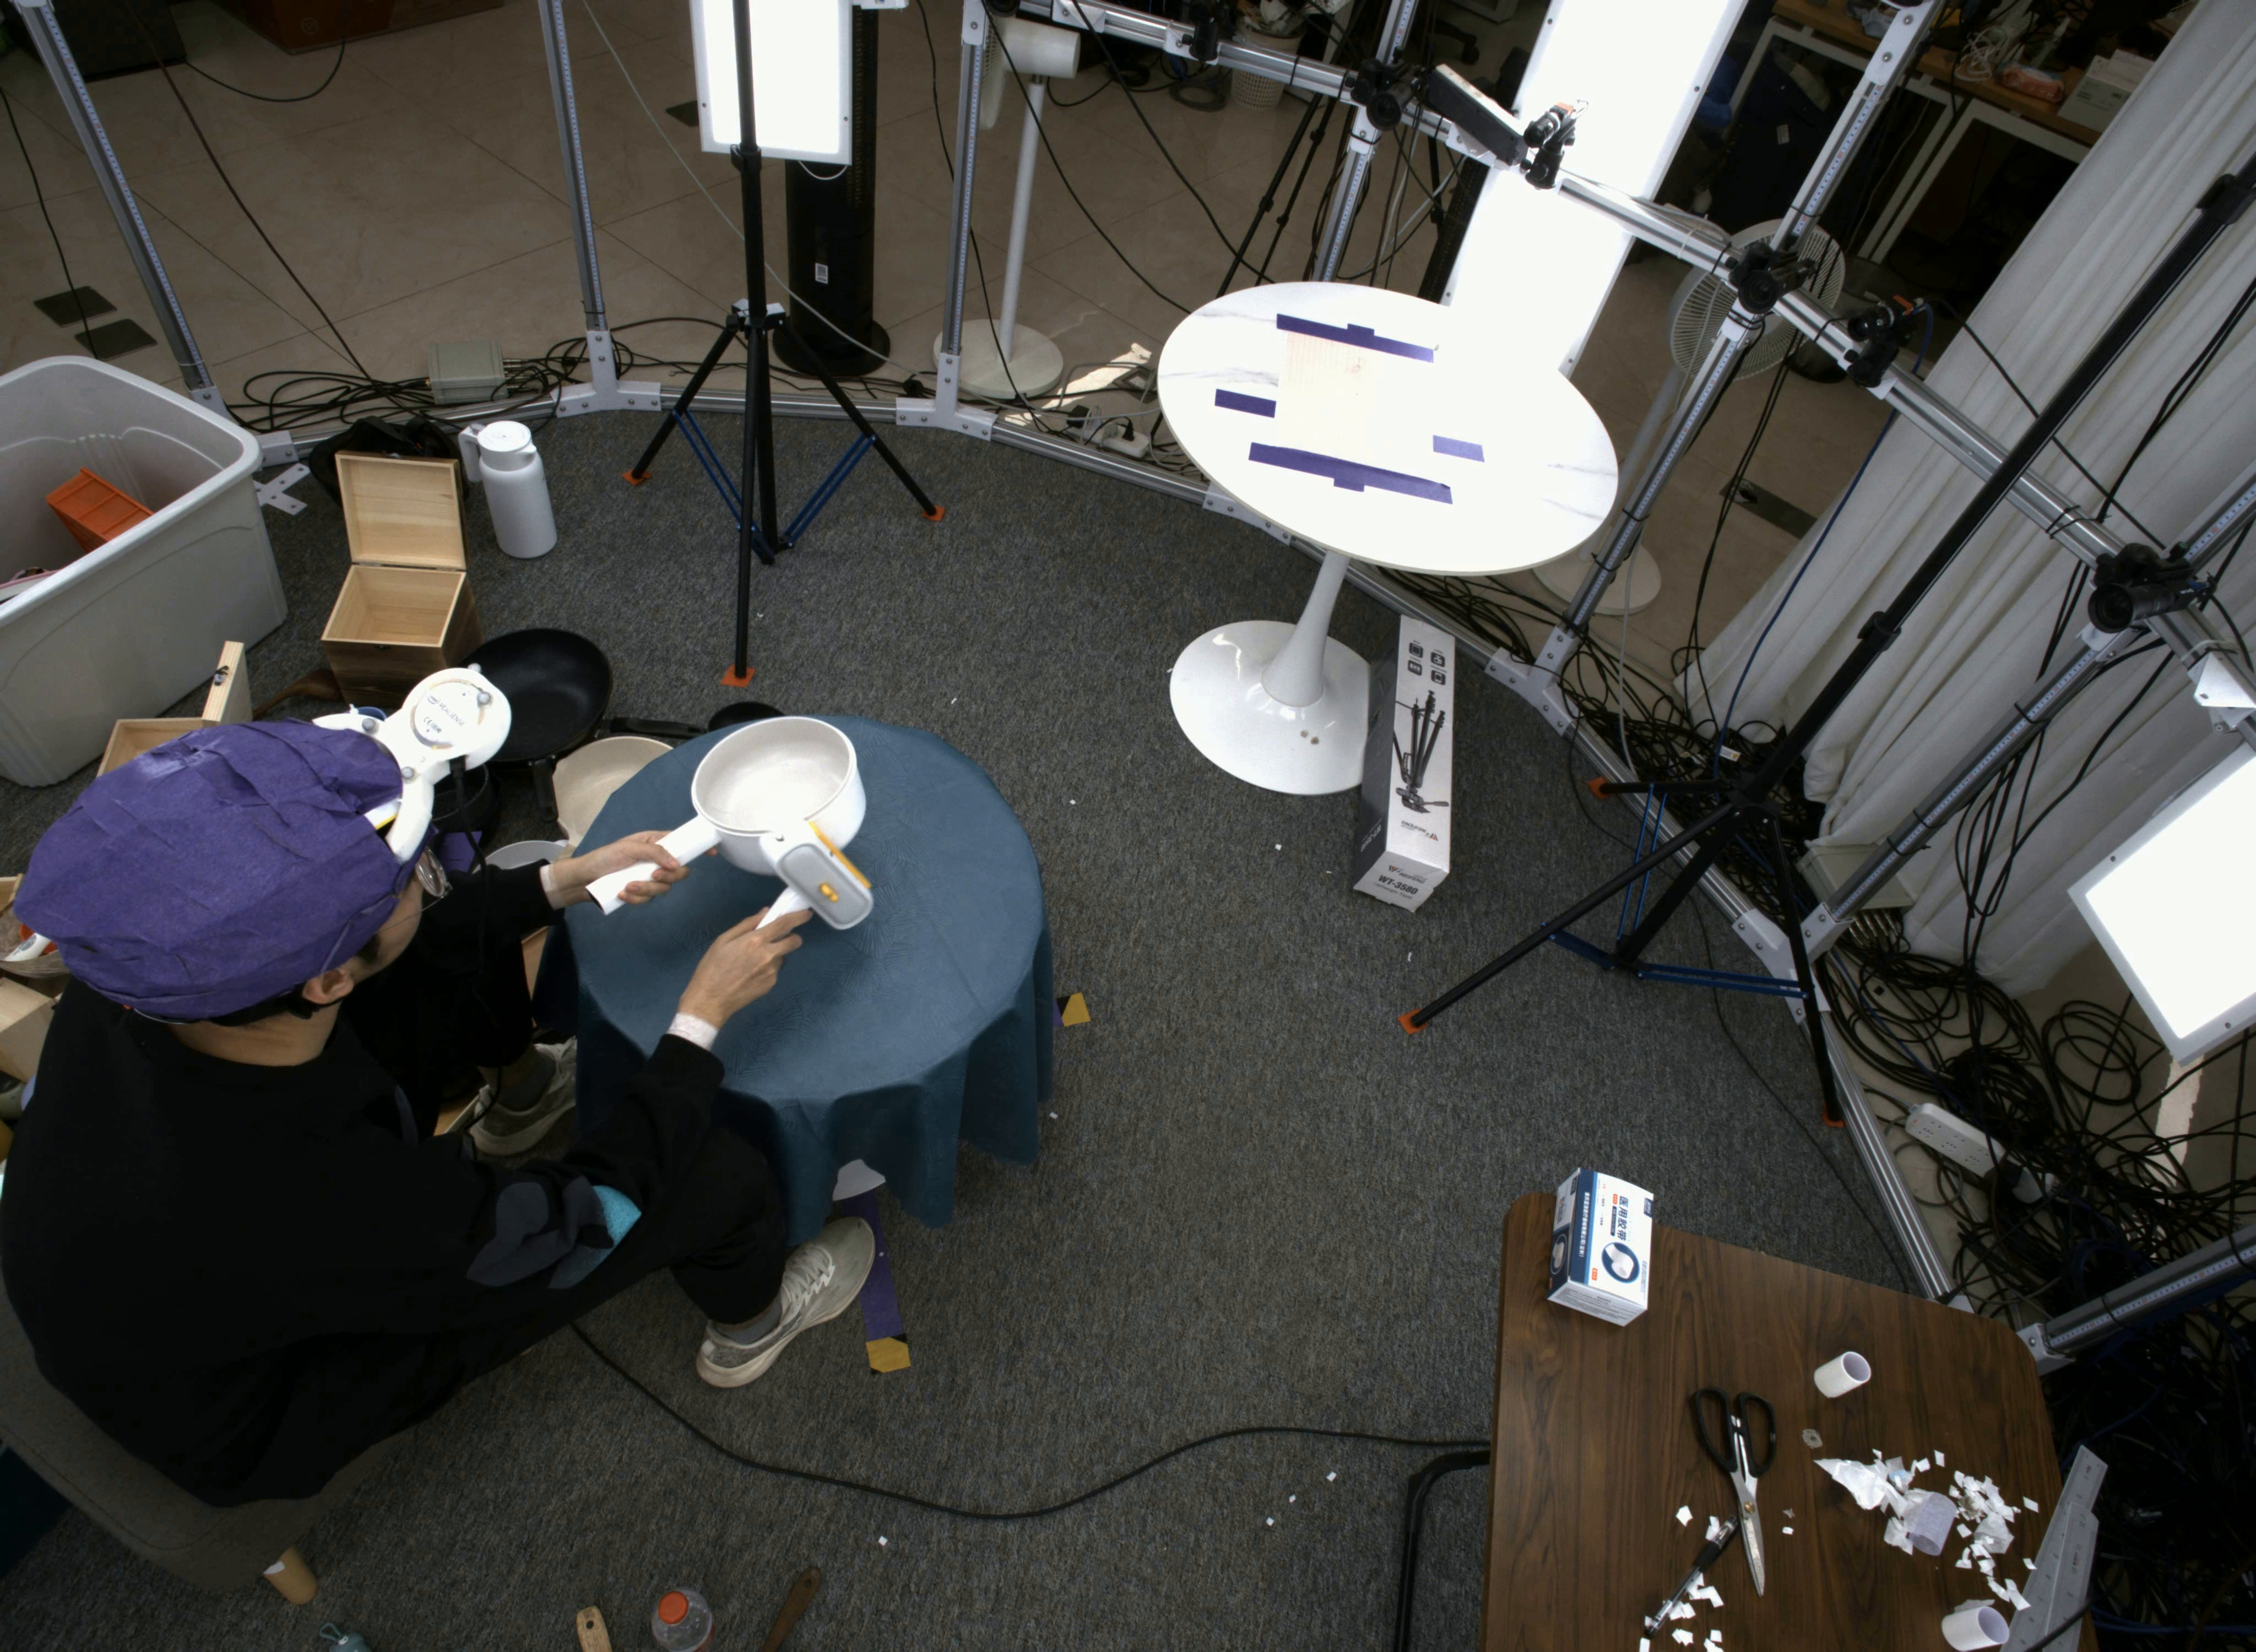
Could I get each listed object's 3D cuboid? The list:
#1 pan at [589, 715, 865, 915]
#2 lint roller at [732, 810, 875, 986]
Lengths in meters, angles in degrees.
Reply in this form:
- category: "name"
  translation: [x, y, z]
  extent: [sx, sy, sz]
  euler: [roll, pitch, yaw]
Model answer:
- category: "pan"
  translation: [-0.479, 0.009, 1.559]
  extent: [0.194, 0.105, 0.355]
  euler: [34, 59, 31]
- category: "lint roller"
  translation: [-0.401, 0.097, 1.518]
  extent: [0.072, 0.199, 0.192]
  euler: [39, 82, 30]
